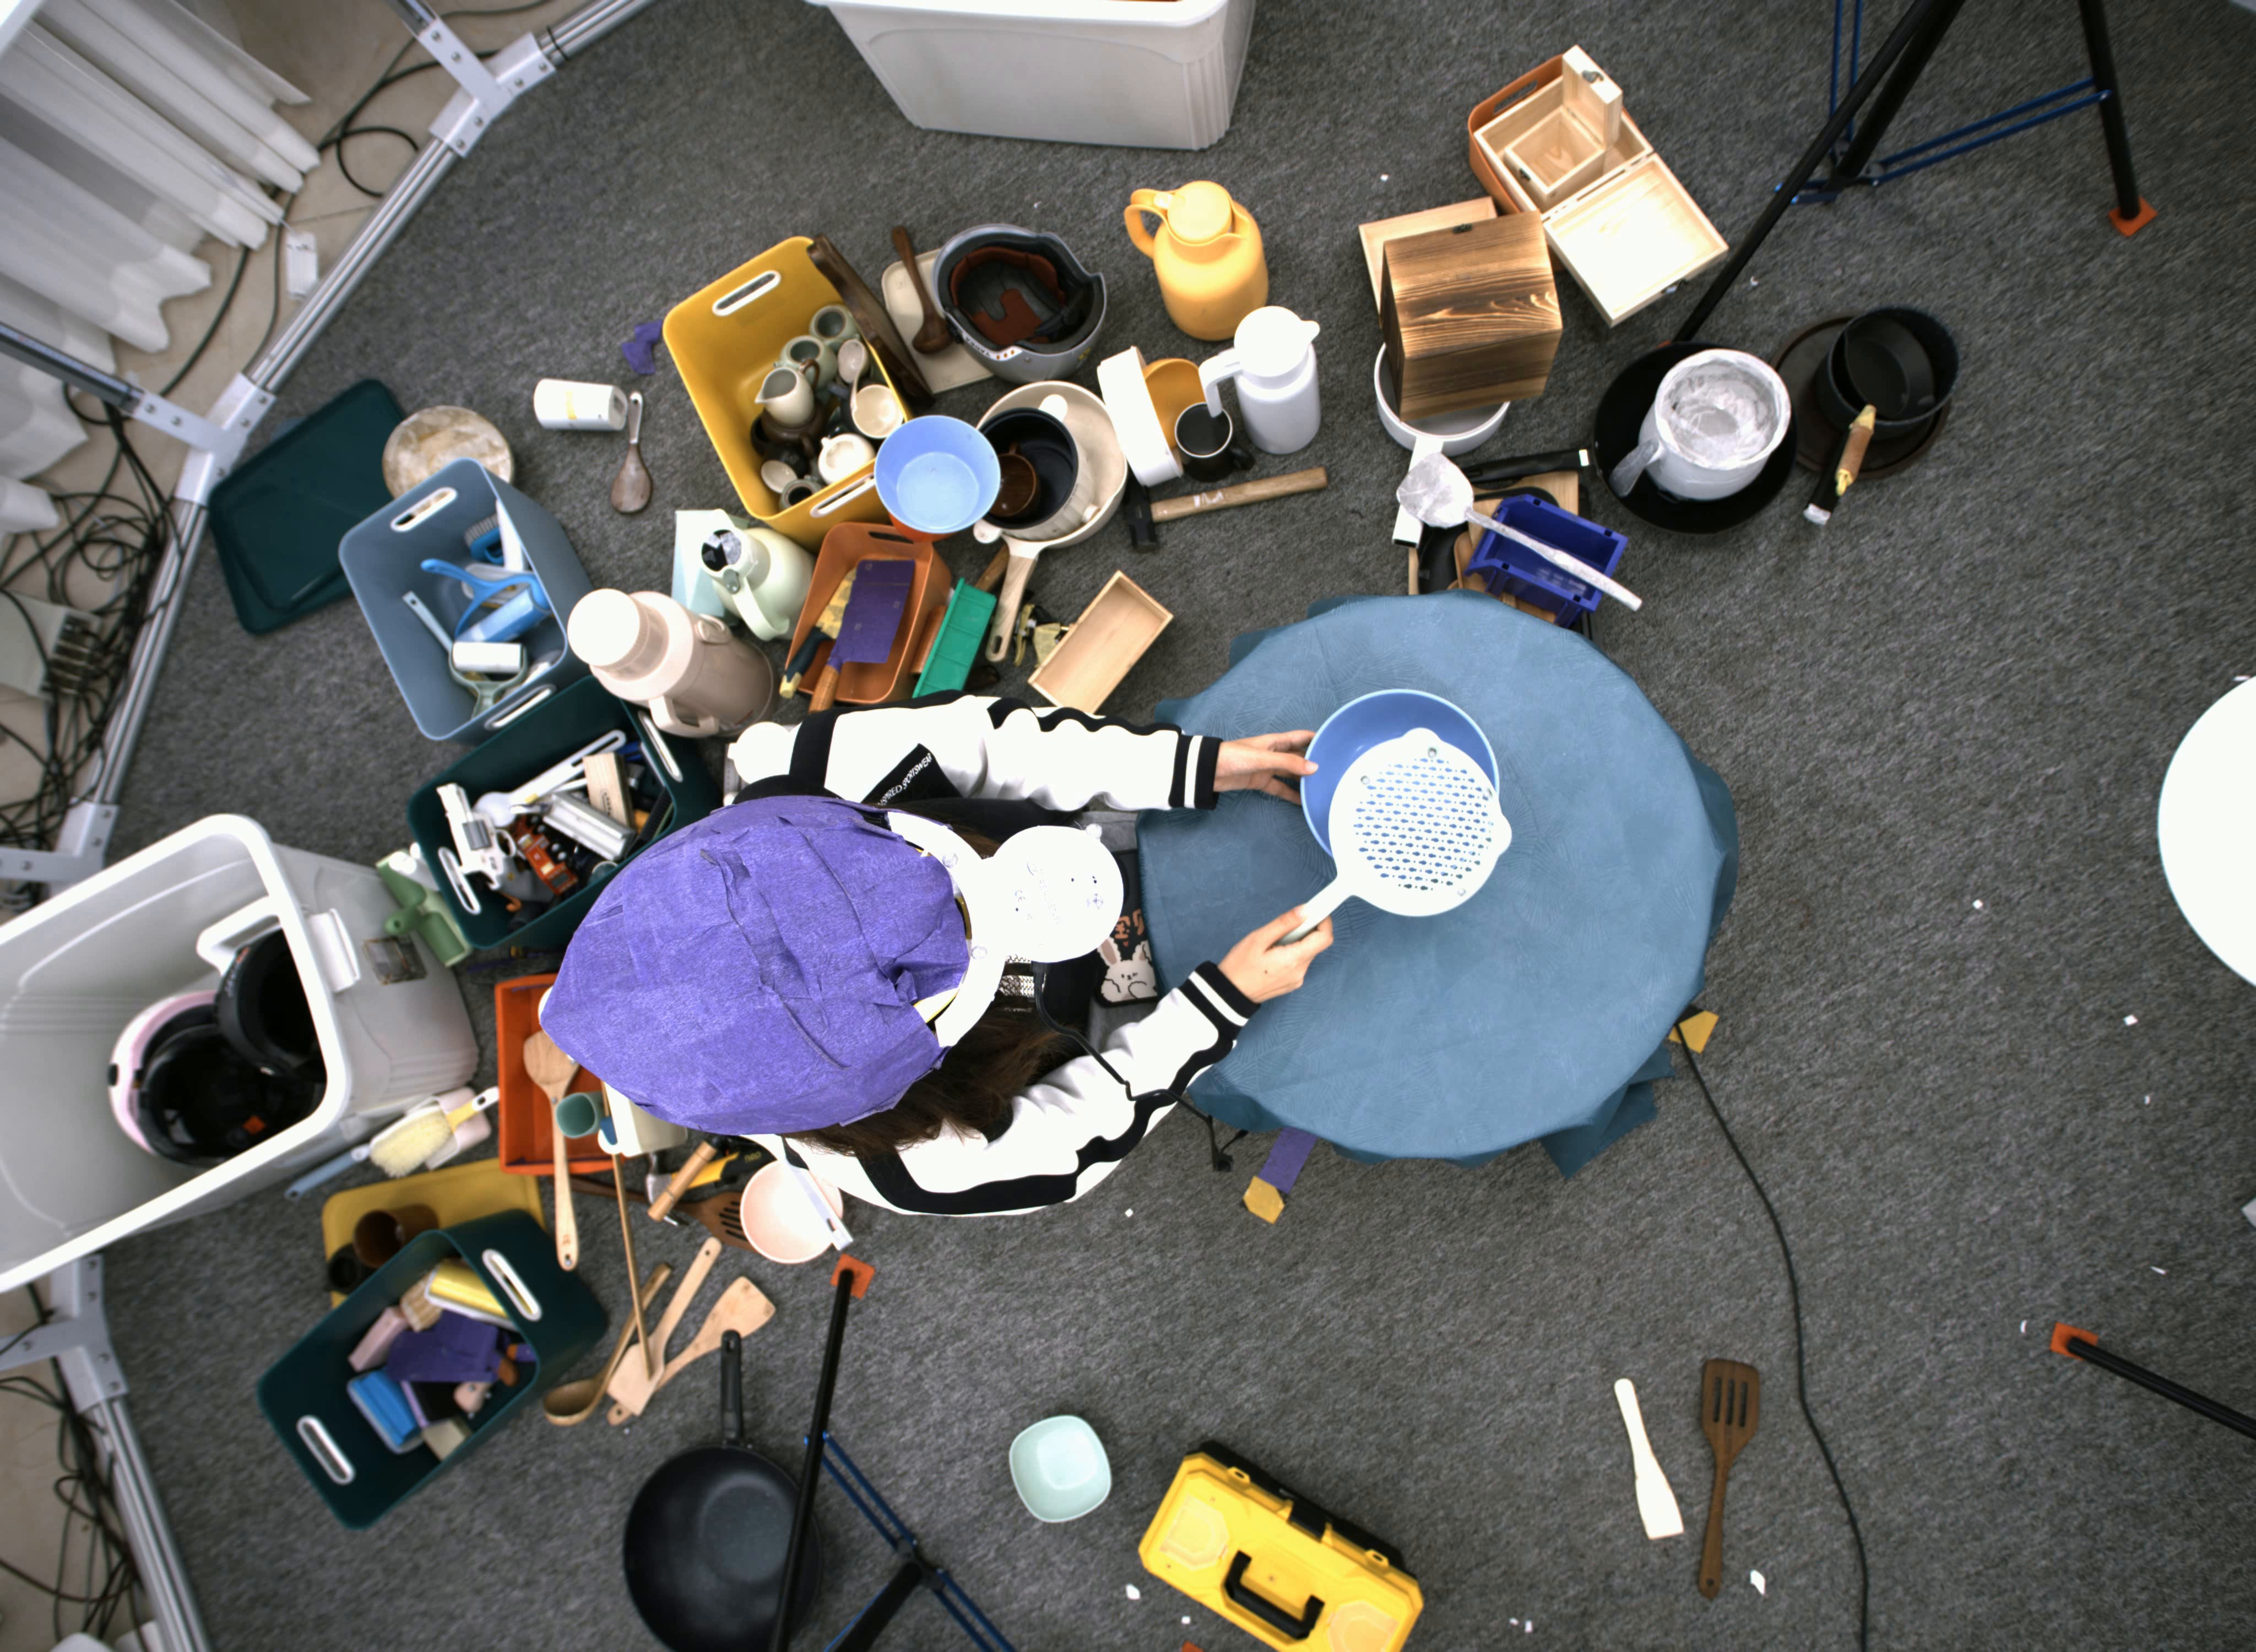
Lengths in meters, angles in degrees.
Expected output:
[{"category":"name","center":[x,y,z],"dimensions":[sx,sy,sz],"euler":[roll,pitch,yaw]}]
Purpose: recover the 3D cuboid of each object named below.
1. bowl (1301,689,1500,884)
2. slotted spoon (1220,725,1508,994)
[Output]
[{"category":"bowl","center":[0.279,-0.037,1.417],"dimensions":[0.197,0.095,0.195],"euler":[-1,87,10]},{"category":"slotted spoon","center":[0.213,0.058,1.367],"dimensions":[0.364,0.075,0.167],"euler":[-42,72,20]}]
